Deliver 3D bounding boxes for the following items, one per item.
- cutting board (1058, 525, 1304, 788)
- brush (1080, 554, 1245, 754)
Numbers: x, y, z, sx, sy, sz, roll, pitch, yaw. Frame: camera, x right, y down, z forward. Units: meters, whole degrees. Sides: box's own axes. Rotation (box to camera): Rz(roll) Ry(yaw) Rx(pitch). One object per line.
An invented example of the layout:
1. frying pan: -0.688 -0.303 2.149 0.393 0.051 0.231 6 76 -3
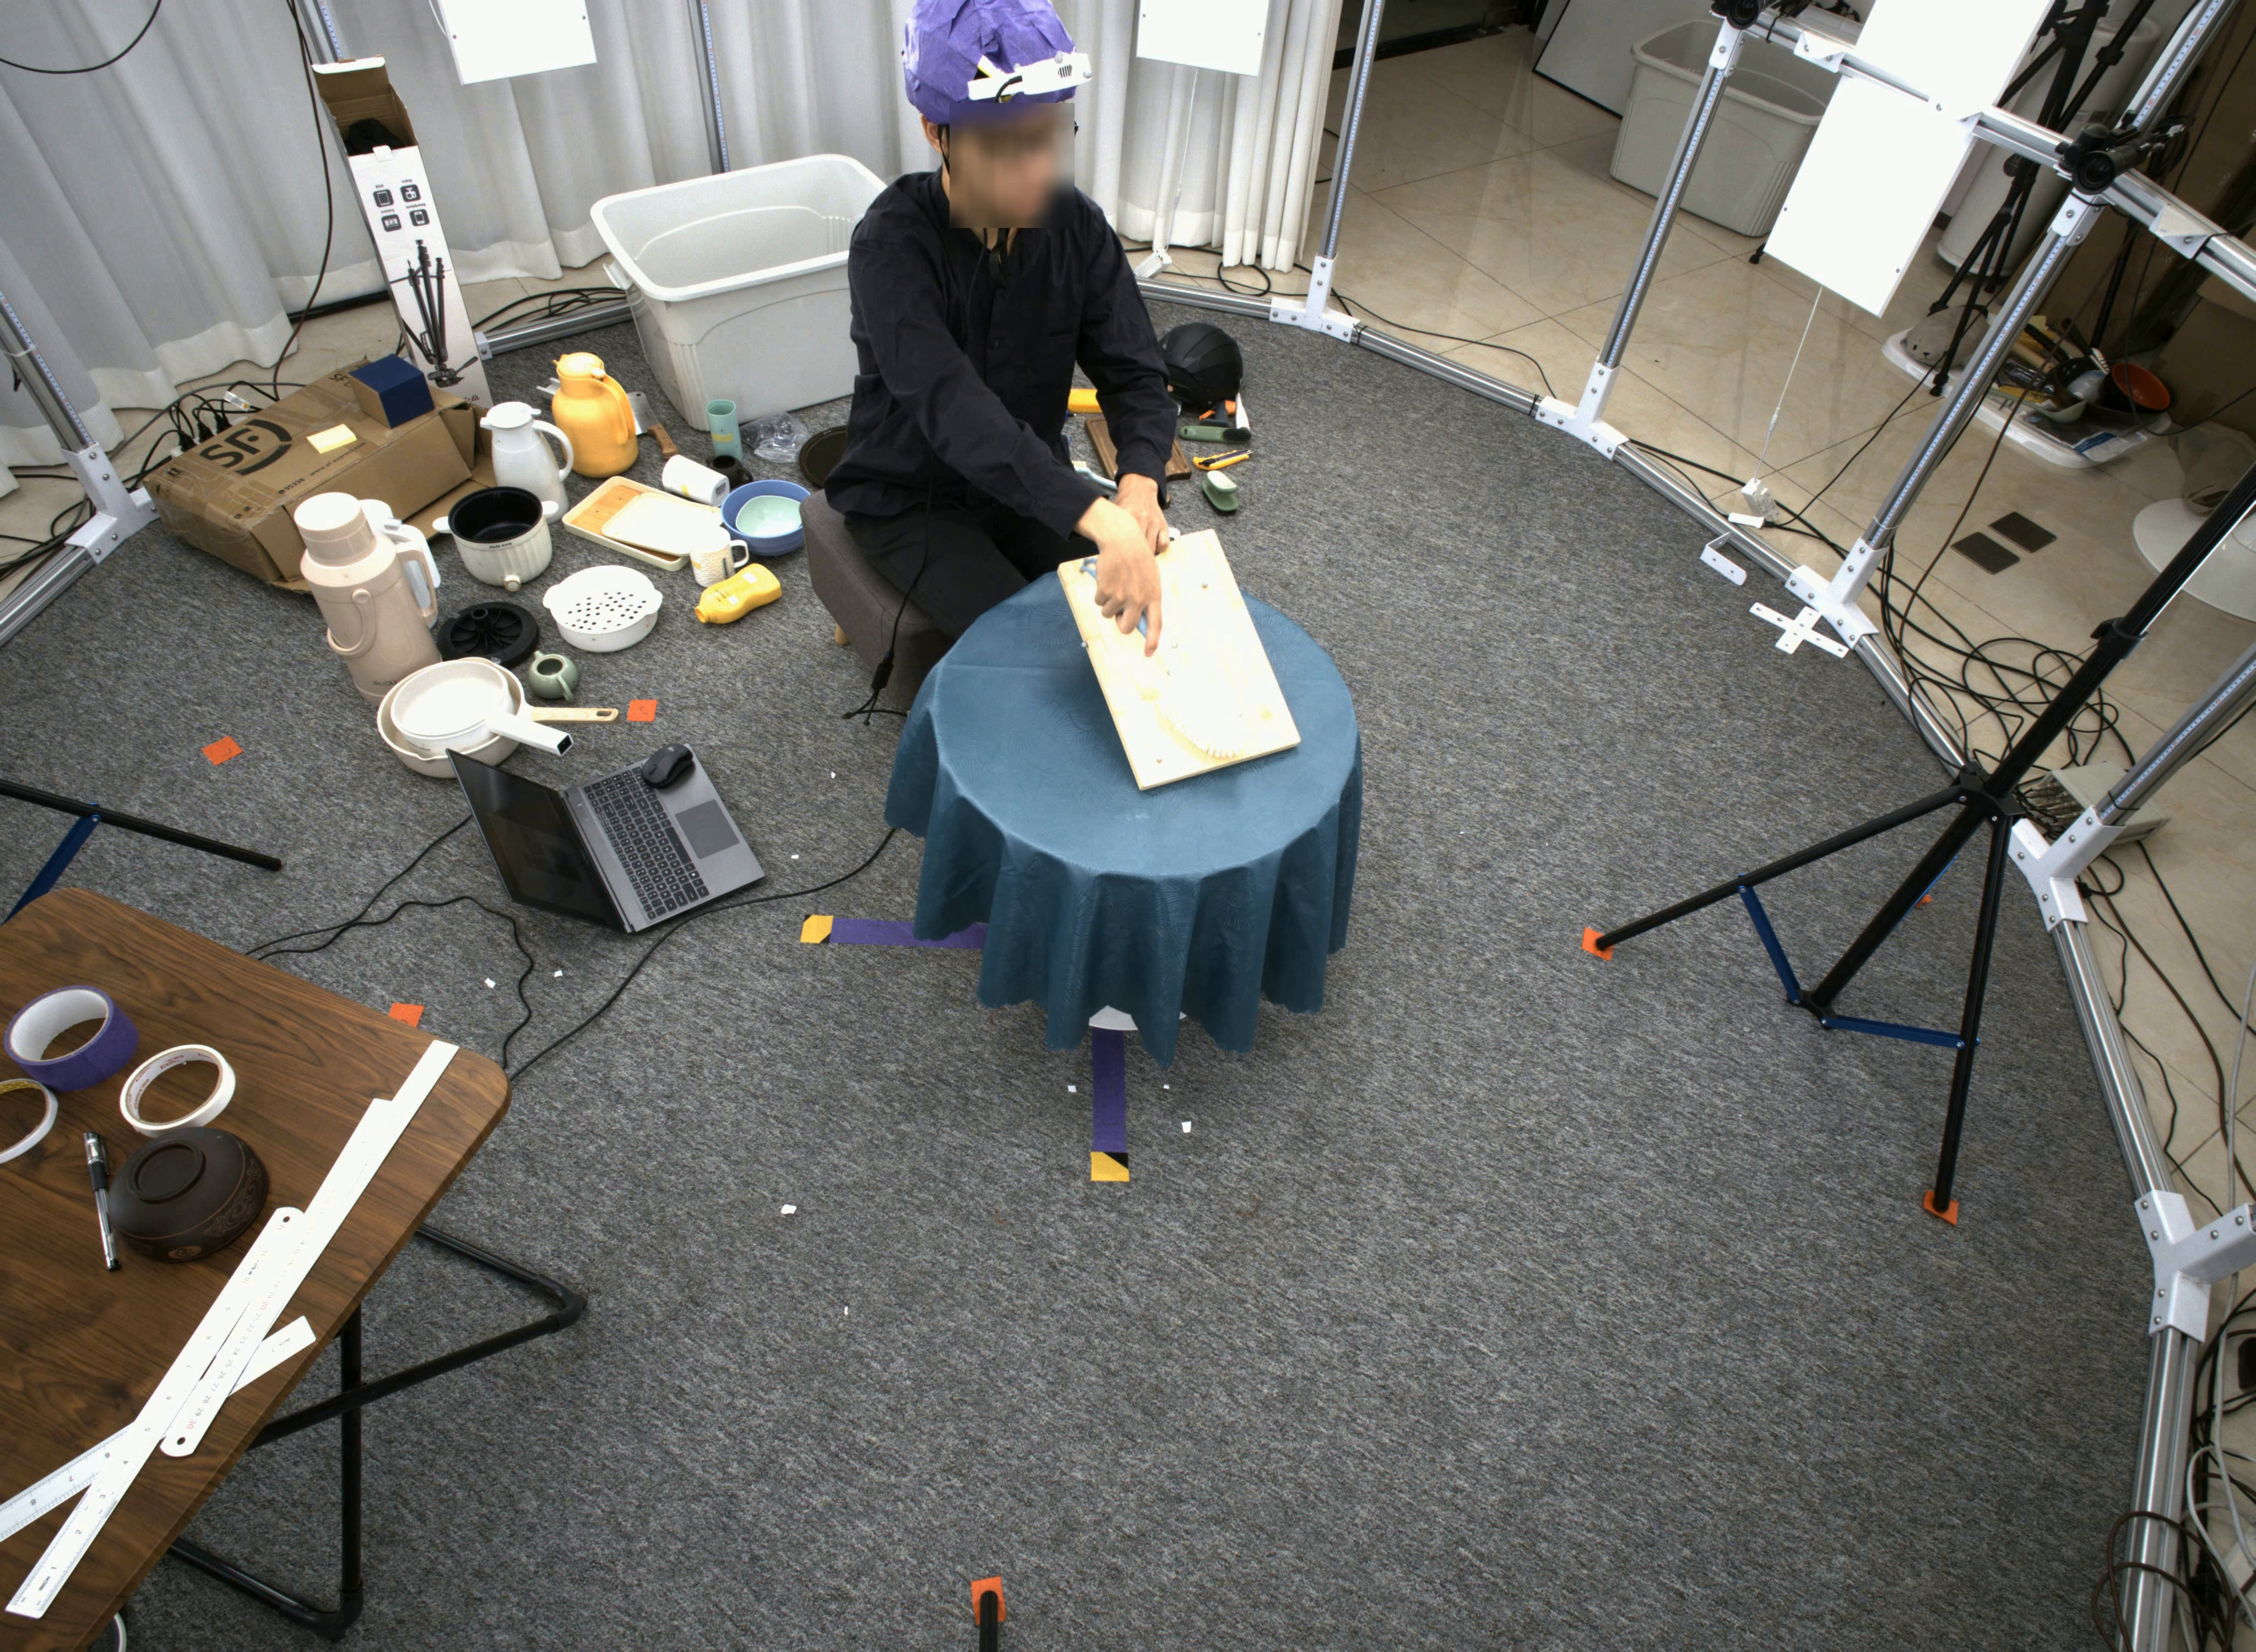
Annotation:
1. cutting board: 0.072 -0.239 1.785 0.251 0.023 0.353 -18 75 -19
2. brush: 0.040 -0.227 1.722 0.324 0.083 0.084 49 31 -4
